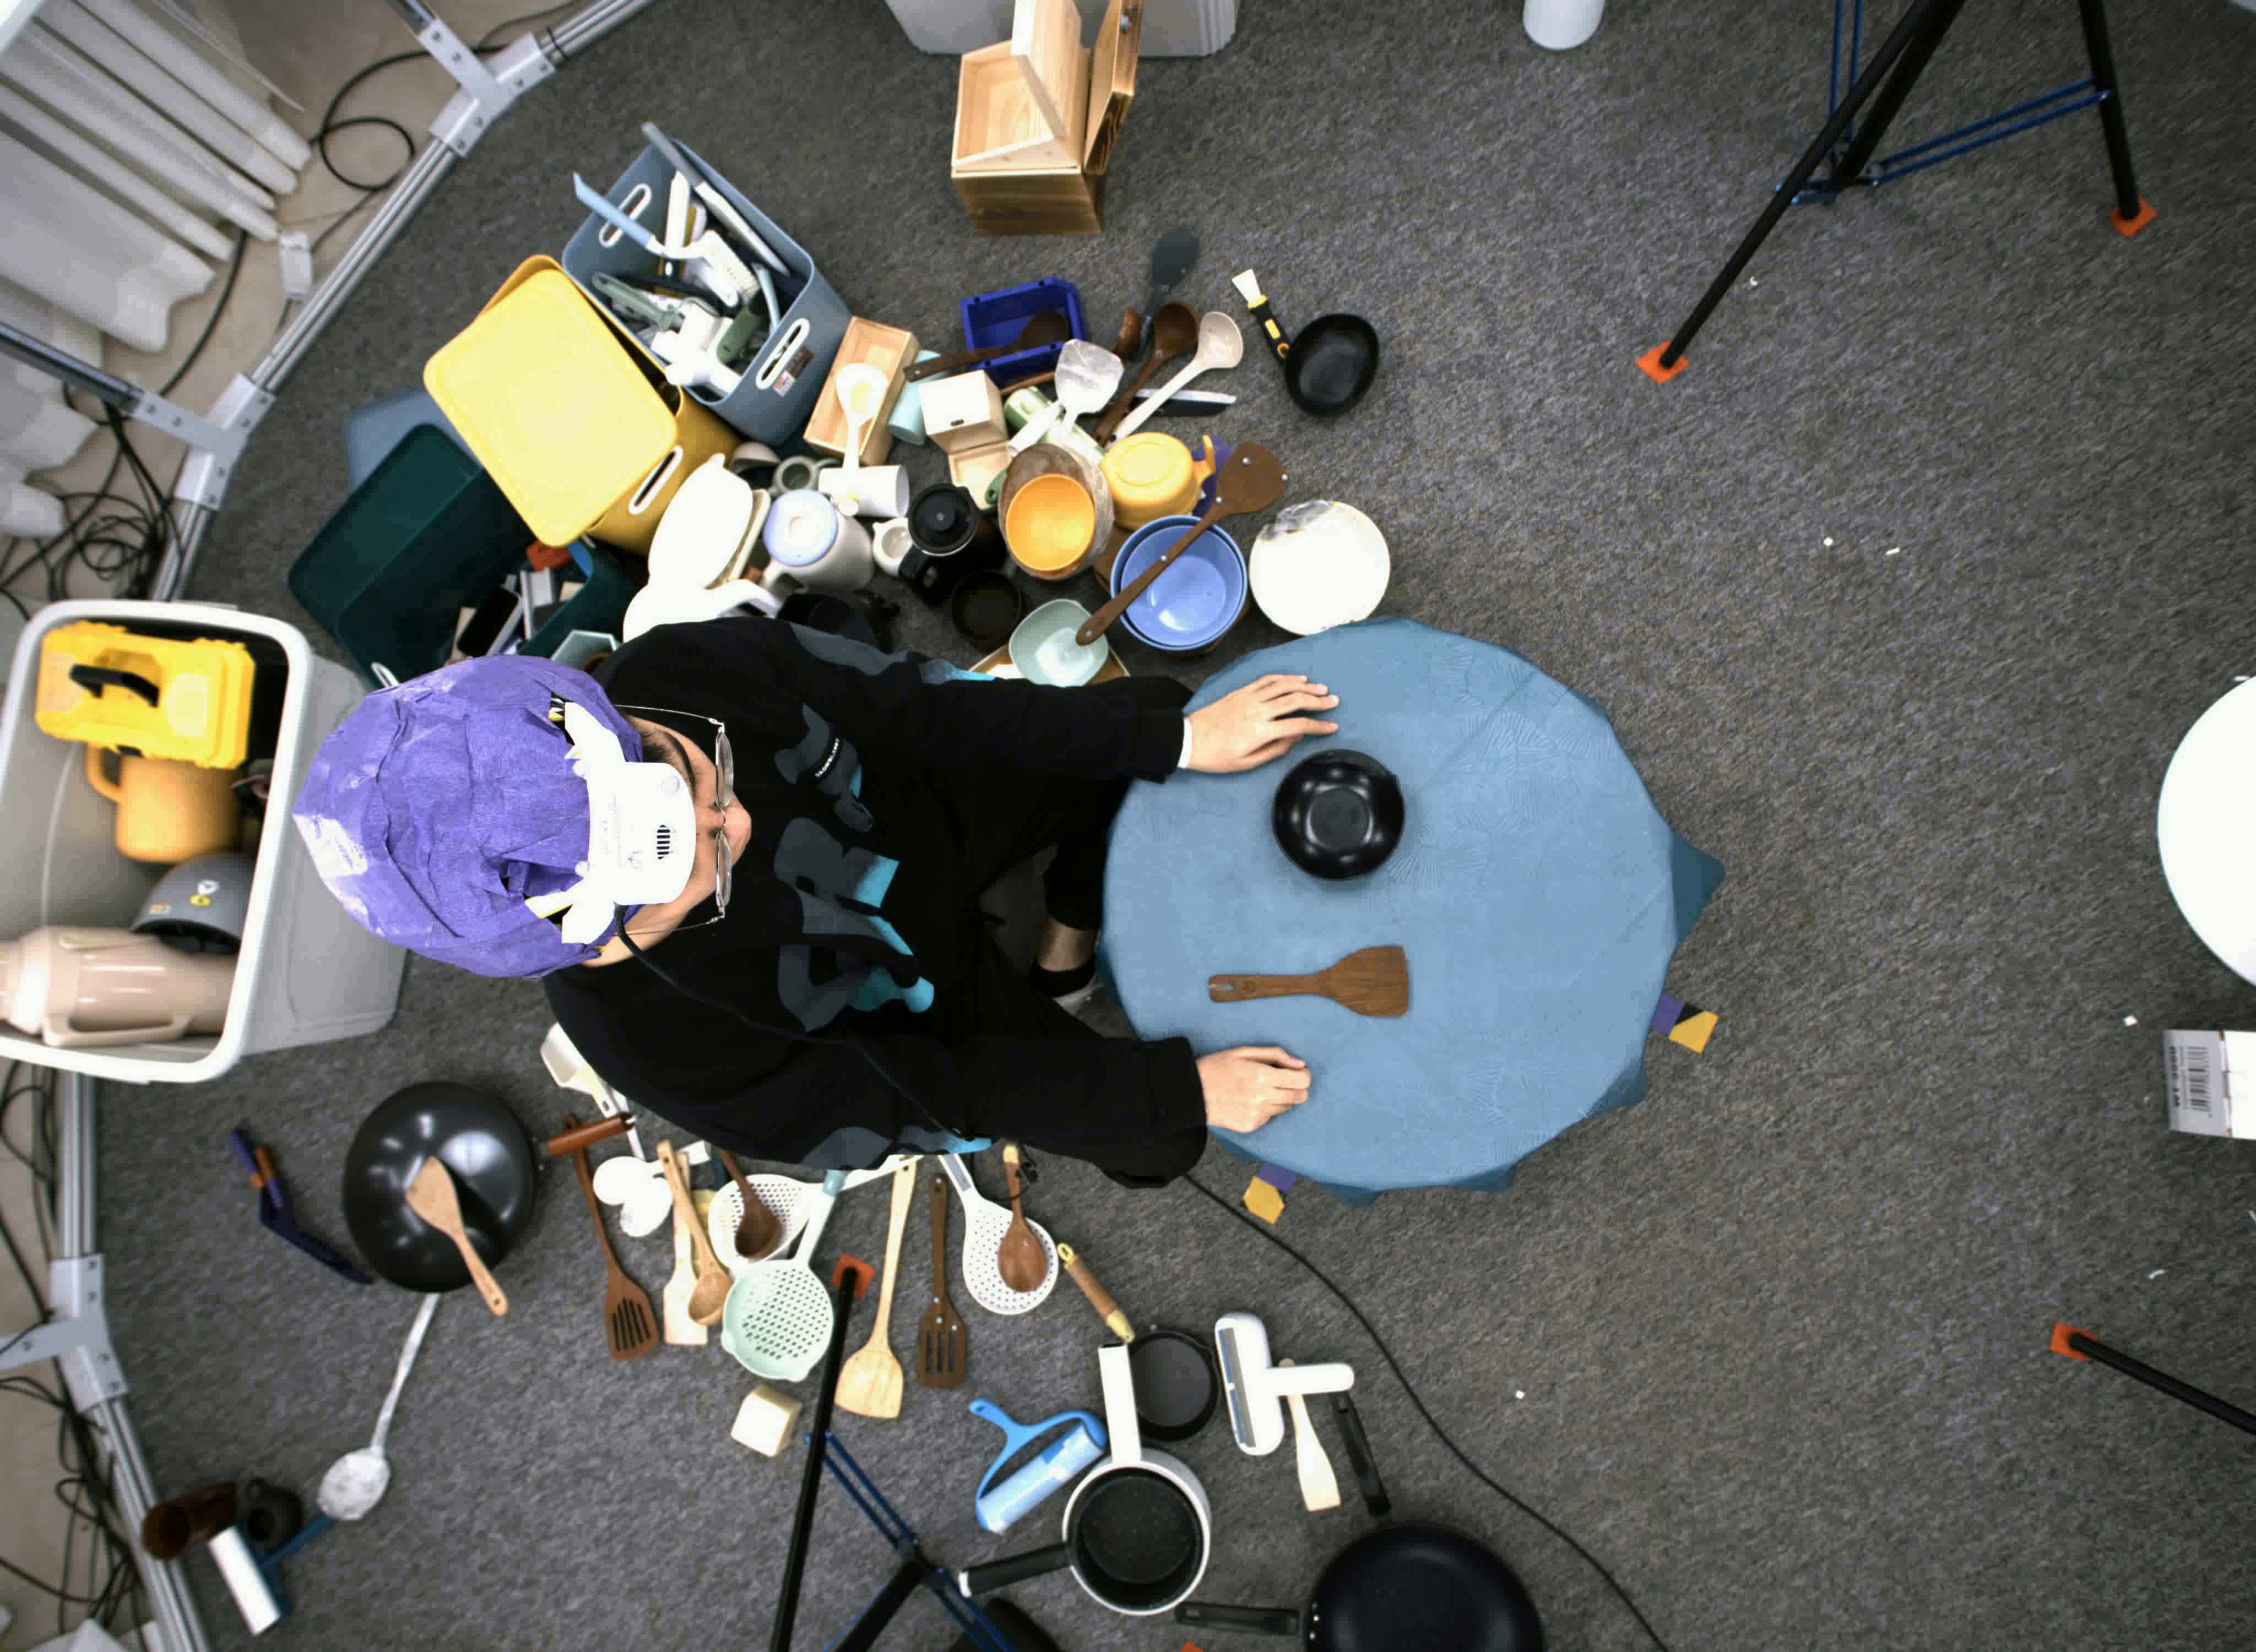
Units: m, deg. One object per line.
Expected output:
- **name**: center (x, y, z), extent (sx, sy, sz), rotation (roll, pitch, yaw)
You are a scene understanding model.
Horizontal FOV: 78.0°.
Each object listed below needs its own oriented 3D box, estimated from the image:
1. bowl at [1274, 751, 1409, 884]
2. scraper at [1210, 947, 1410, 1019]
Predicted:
- **bowl**: center (0.225, -0.009, 1.455), extent (0.140, 0.049, 0.139), rotation (-1, 89, 11)
- **scraper**: center (0.192, 0.169, 1.469), extent (0.212, 0.011, 0.075), rotation (-4, 84, 11)
